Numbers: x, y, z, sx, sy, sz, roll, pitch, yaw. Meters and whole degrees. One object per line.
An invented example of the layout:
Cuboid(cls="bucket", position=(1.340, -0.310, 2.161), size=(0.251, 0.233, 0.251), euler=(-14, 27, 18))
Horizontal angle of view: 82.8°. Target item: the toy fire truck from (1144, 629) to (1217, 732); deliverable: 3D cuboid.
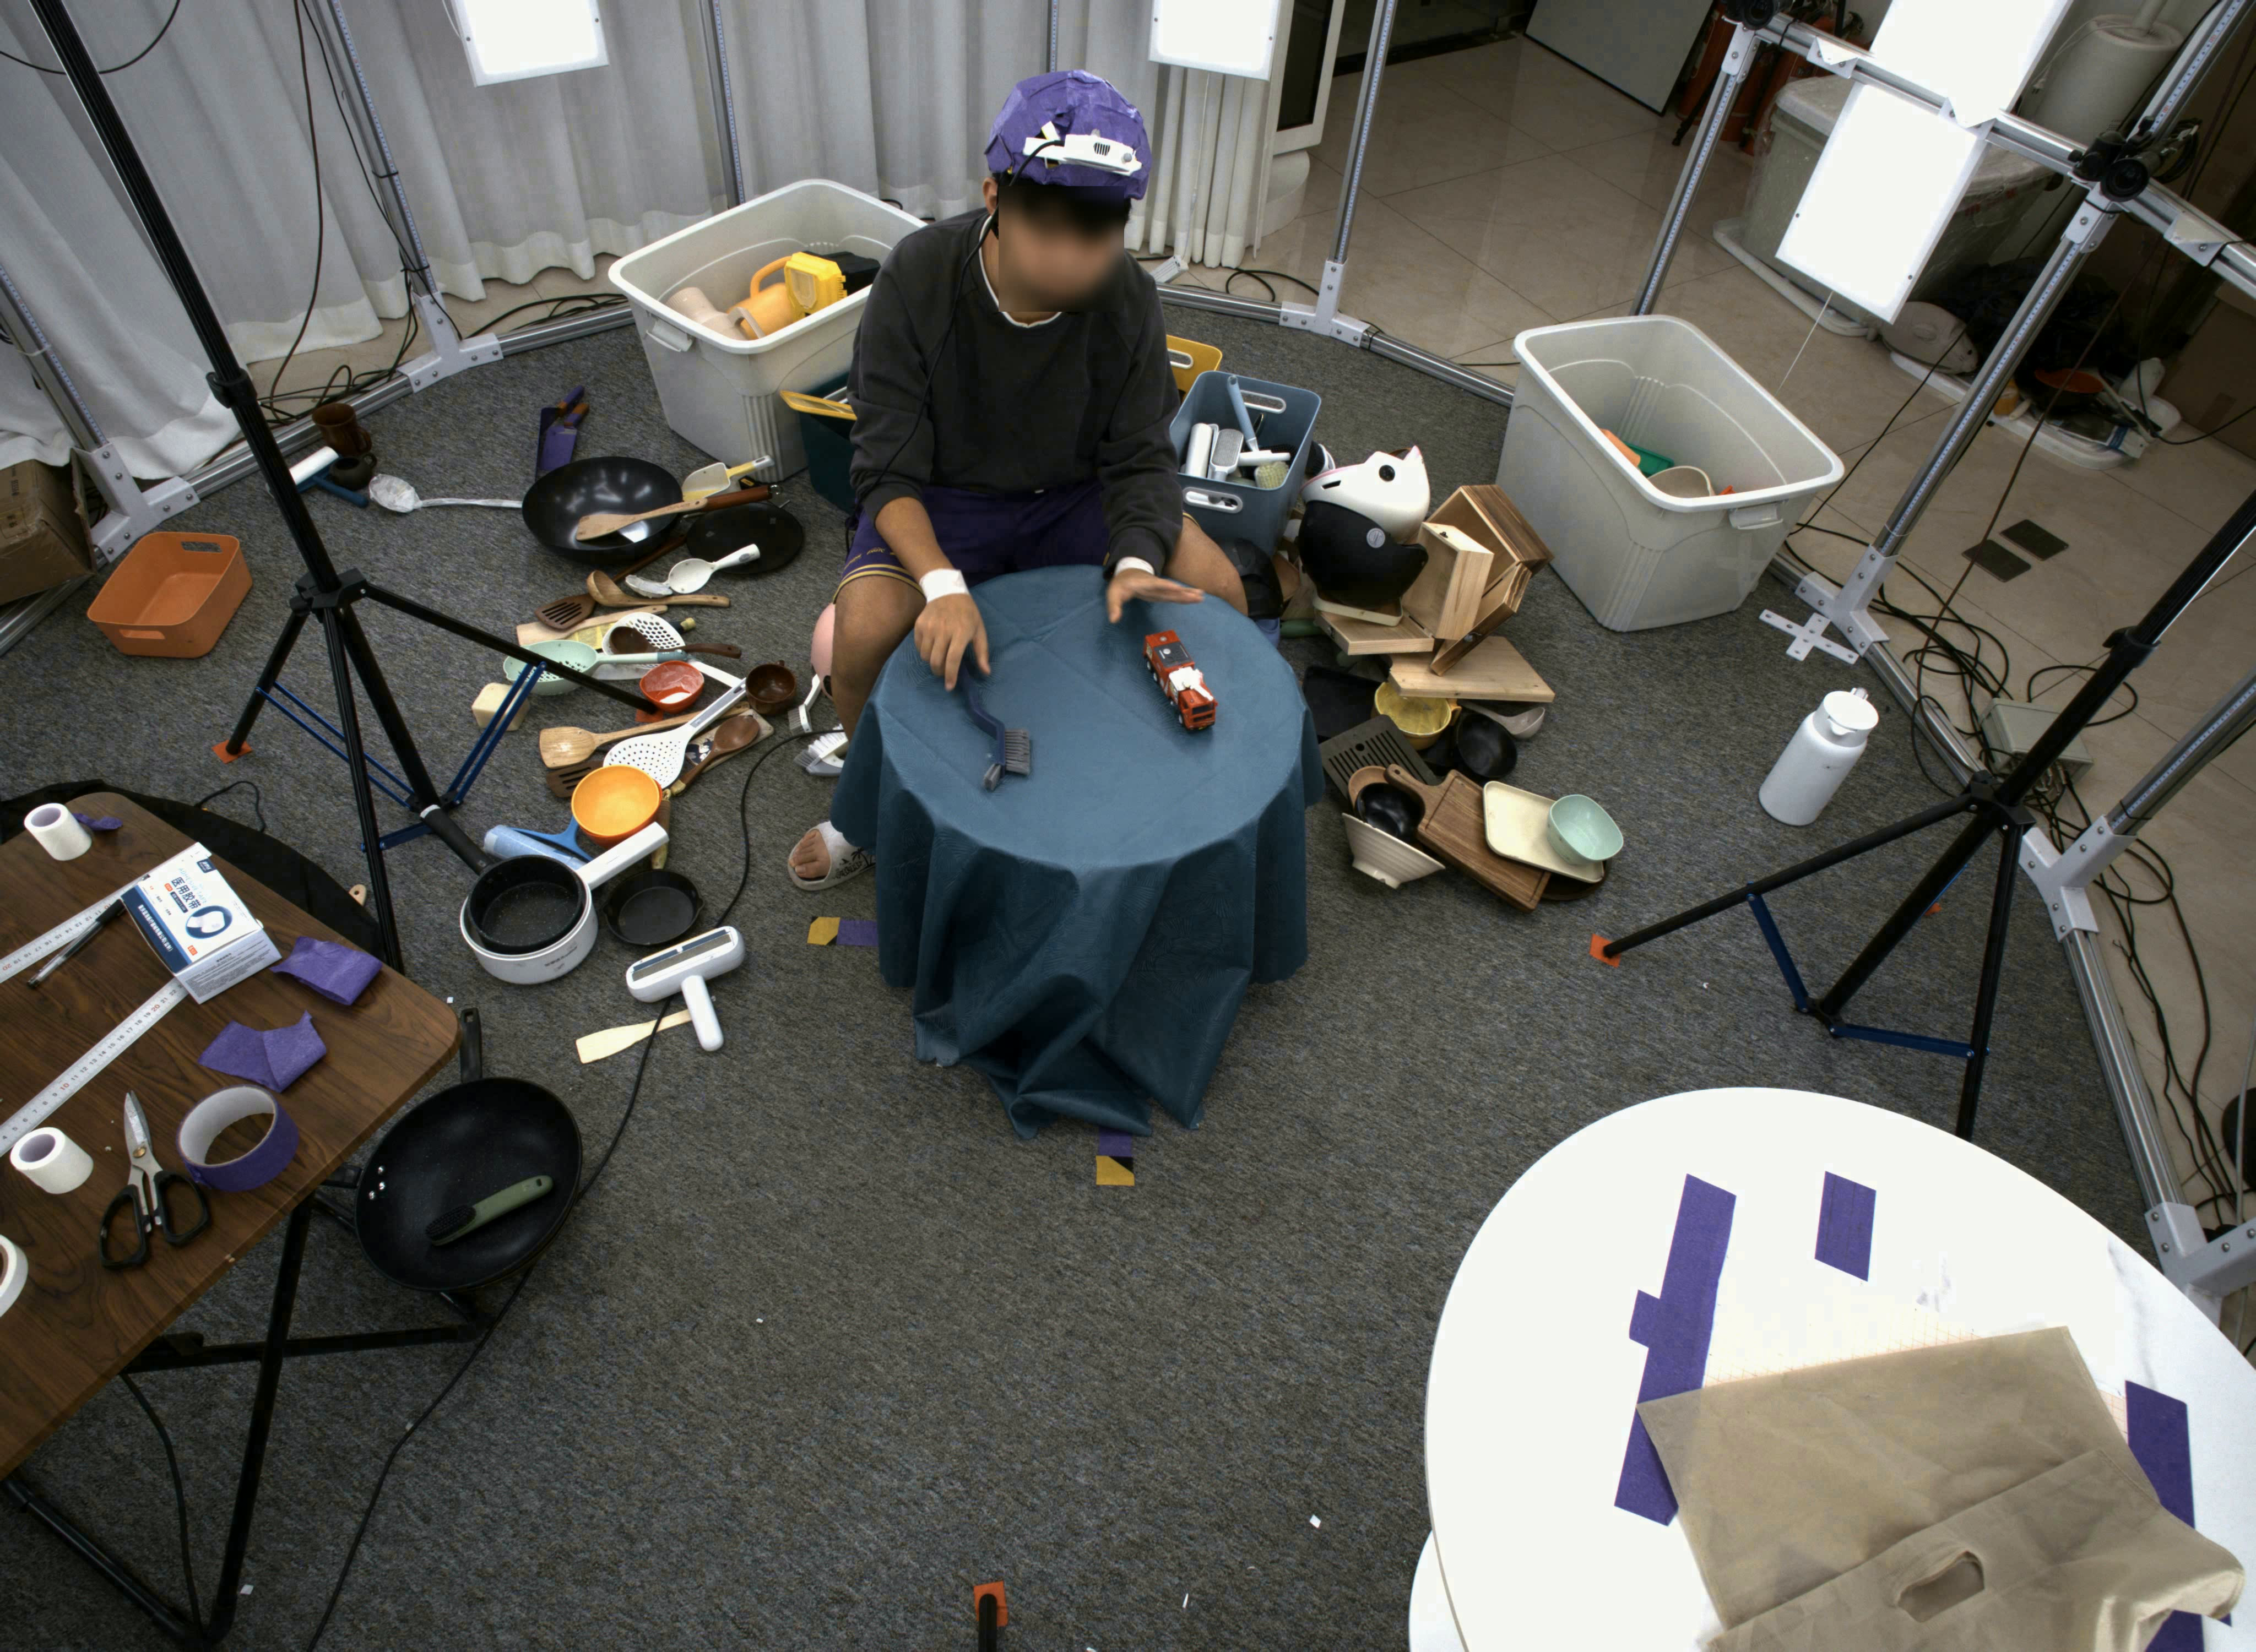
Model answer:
Cuboid(cls="toy fire truck", position=(0.074, -0.207, 1.813), size=(0.054, 0.068, 0.172), euler=(-16, 51, -16))

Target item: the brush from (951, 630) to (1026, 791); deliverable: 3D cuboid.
Cuboid(cls="brush", position=(-0.216, -0.165, 1.774), size=(0.096, 0.033, 0.279), euler=(-19, 54, -20))
